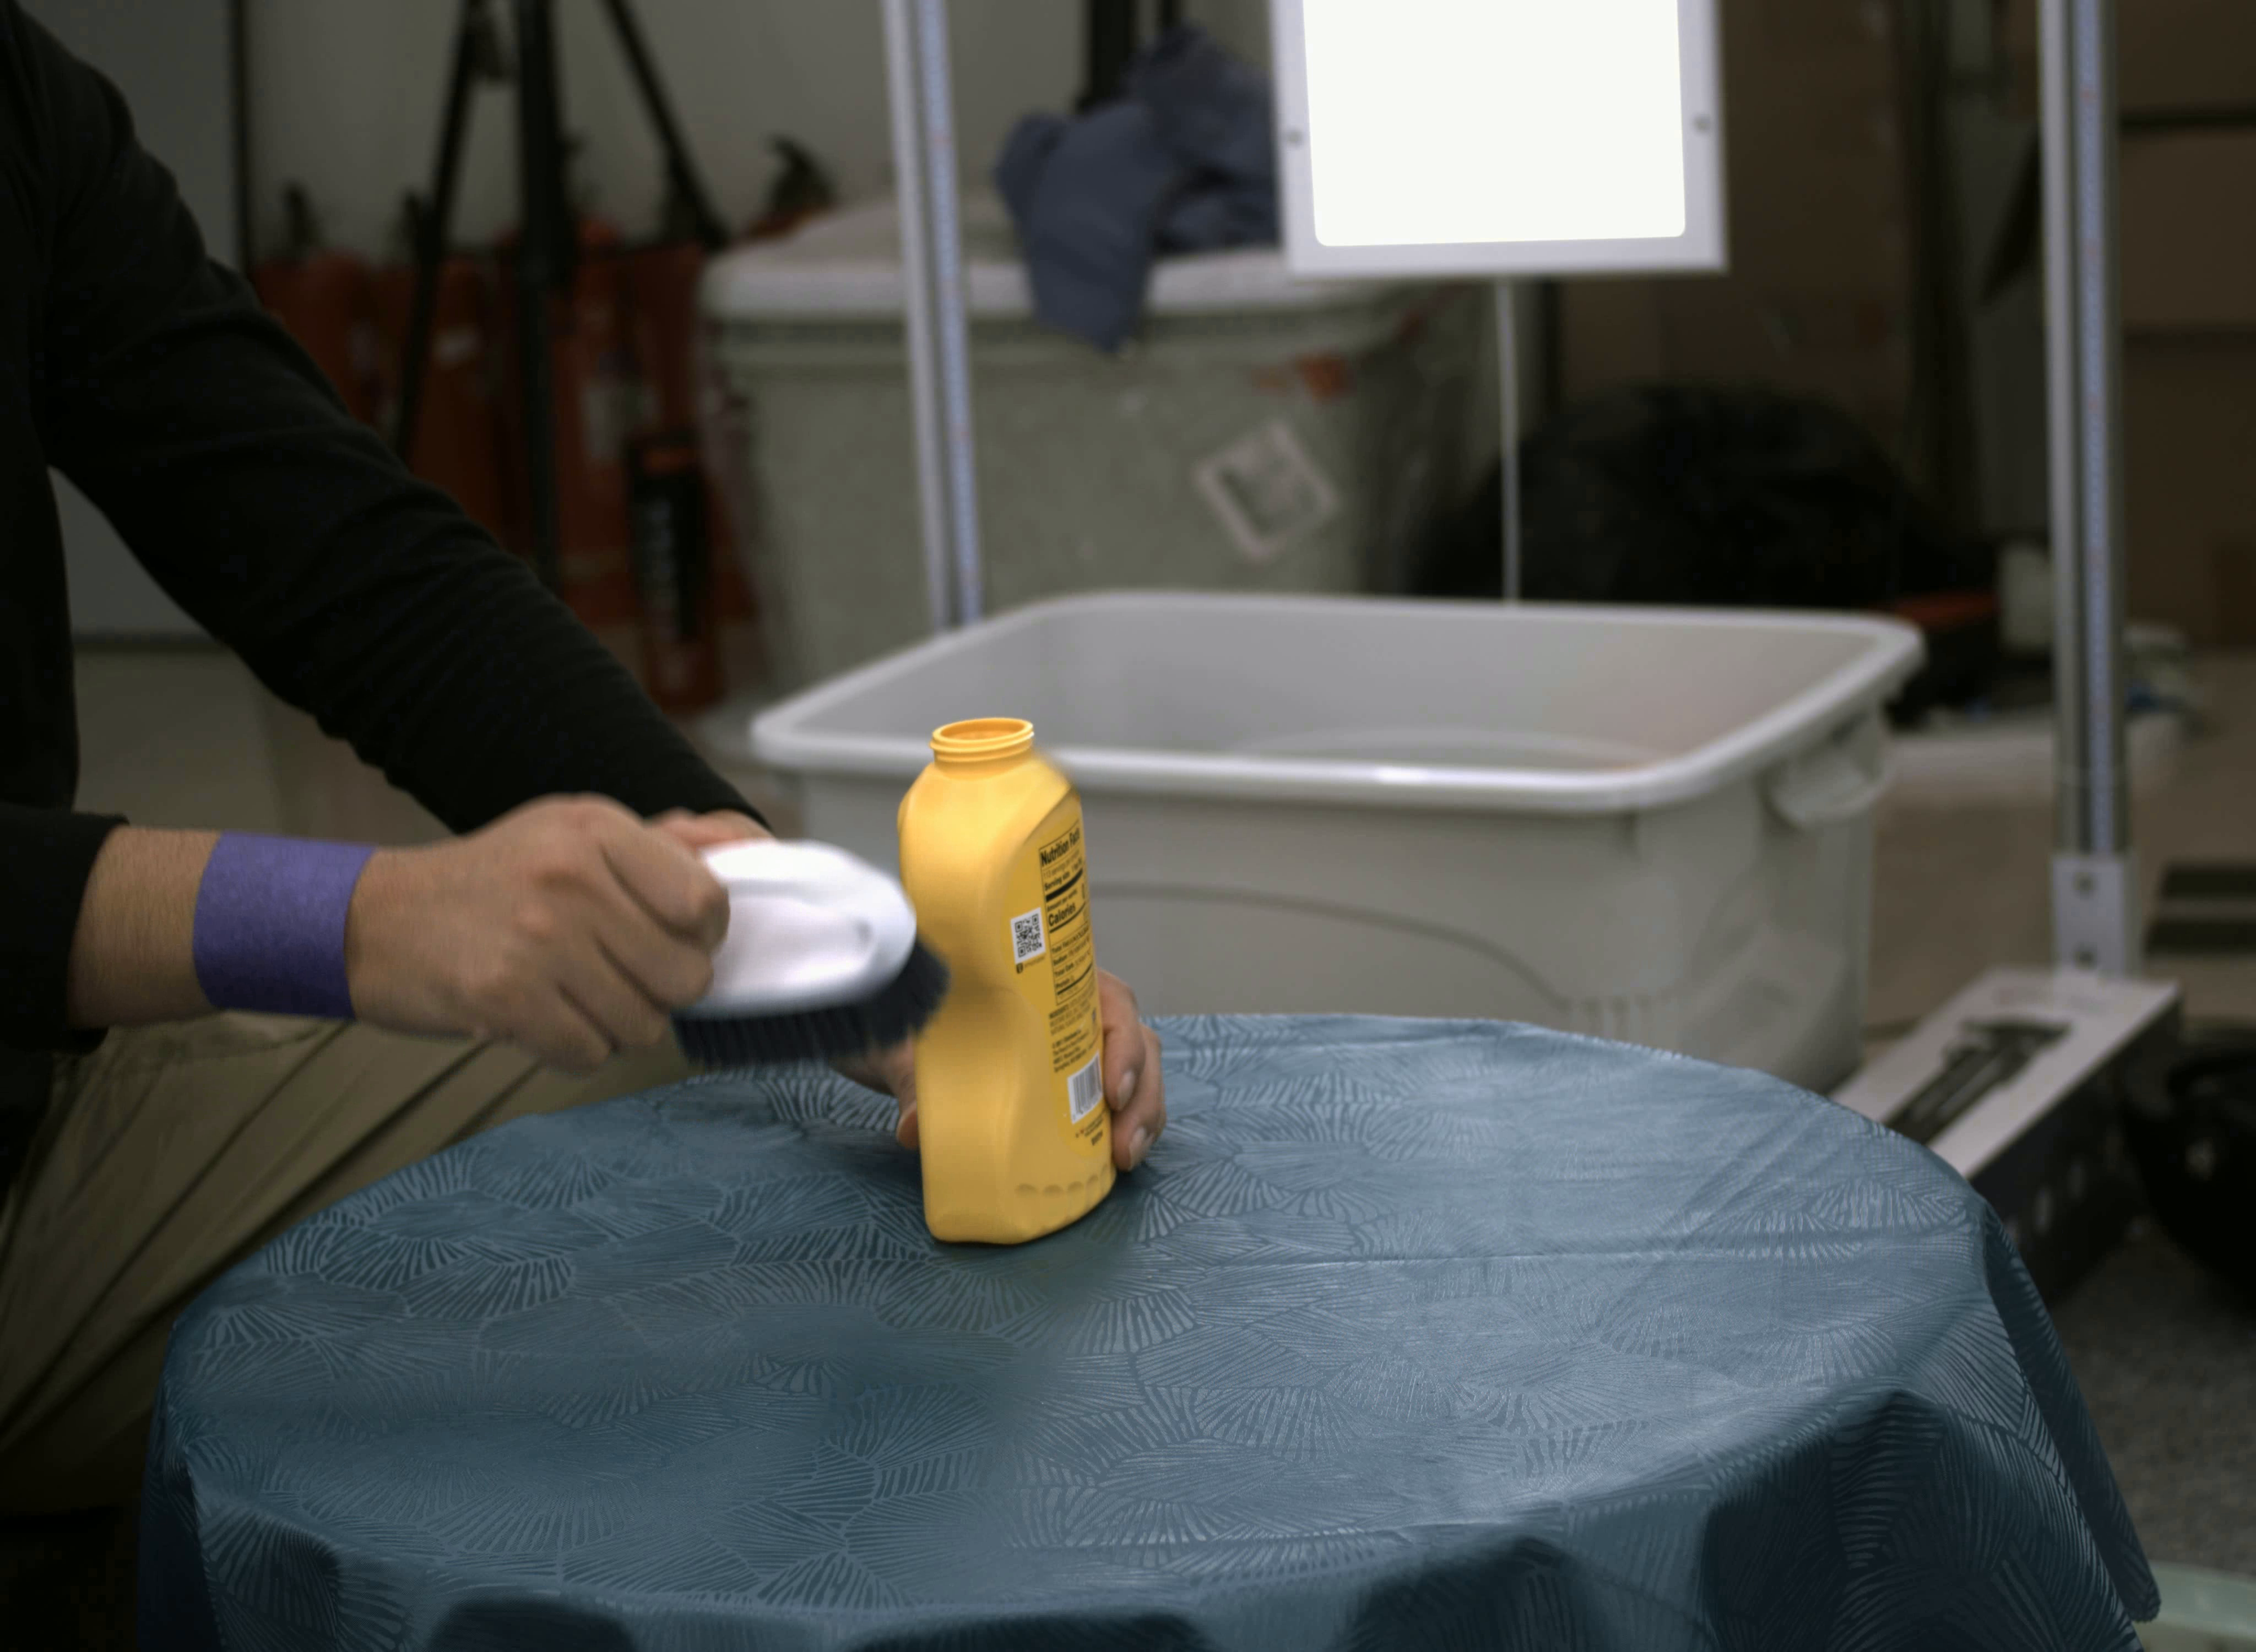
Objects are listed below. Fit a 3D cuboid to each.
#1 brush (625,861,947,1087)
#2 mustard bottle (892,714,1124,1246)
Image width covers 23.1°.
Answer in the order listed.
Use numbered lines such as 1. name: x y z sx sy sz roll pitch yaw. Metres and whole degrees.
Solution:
1. brush: -0.115 0.041 1.757 0.101 0.072 0.049 -3 45 30
2. mustard bottle: -0.043 0.050 1.869 0.060 0.172 0.096 -1 16 22
